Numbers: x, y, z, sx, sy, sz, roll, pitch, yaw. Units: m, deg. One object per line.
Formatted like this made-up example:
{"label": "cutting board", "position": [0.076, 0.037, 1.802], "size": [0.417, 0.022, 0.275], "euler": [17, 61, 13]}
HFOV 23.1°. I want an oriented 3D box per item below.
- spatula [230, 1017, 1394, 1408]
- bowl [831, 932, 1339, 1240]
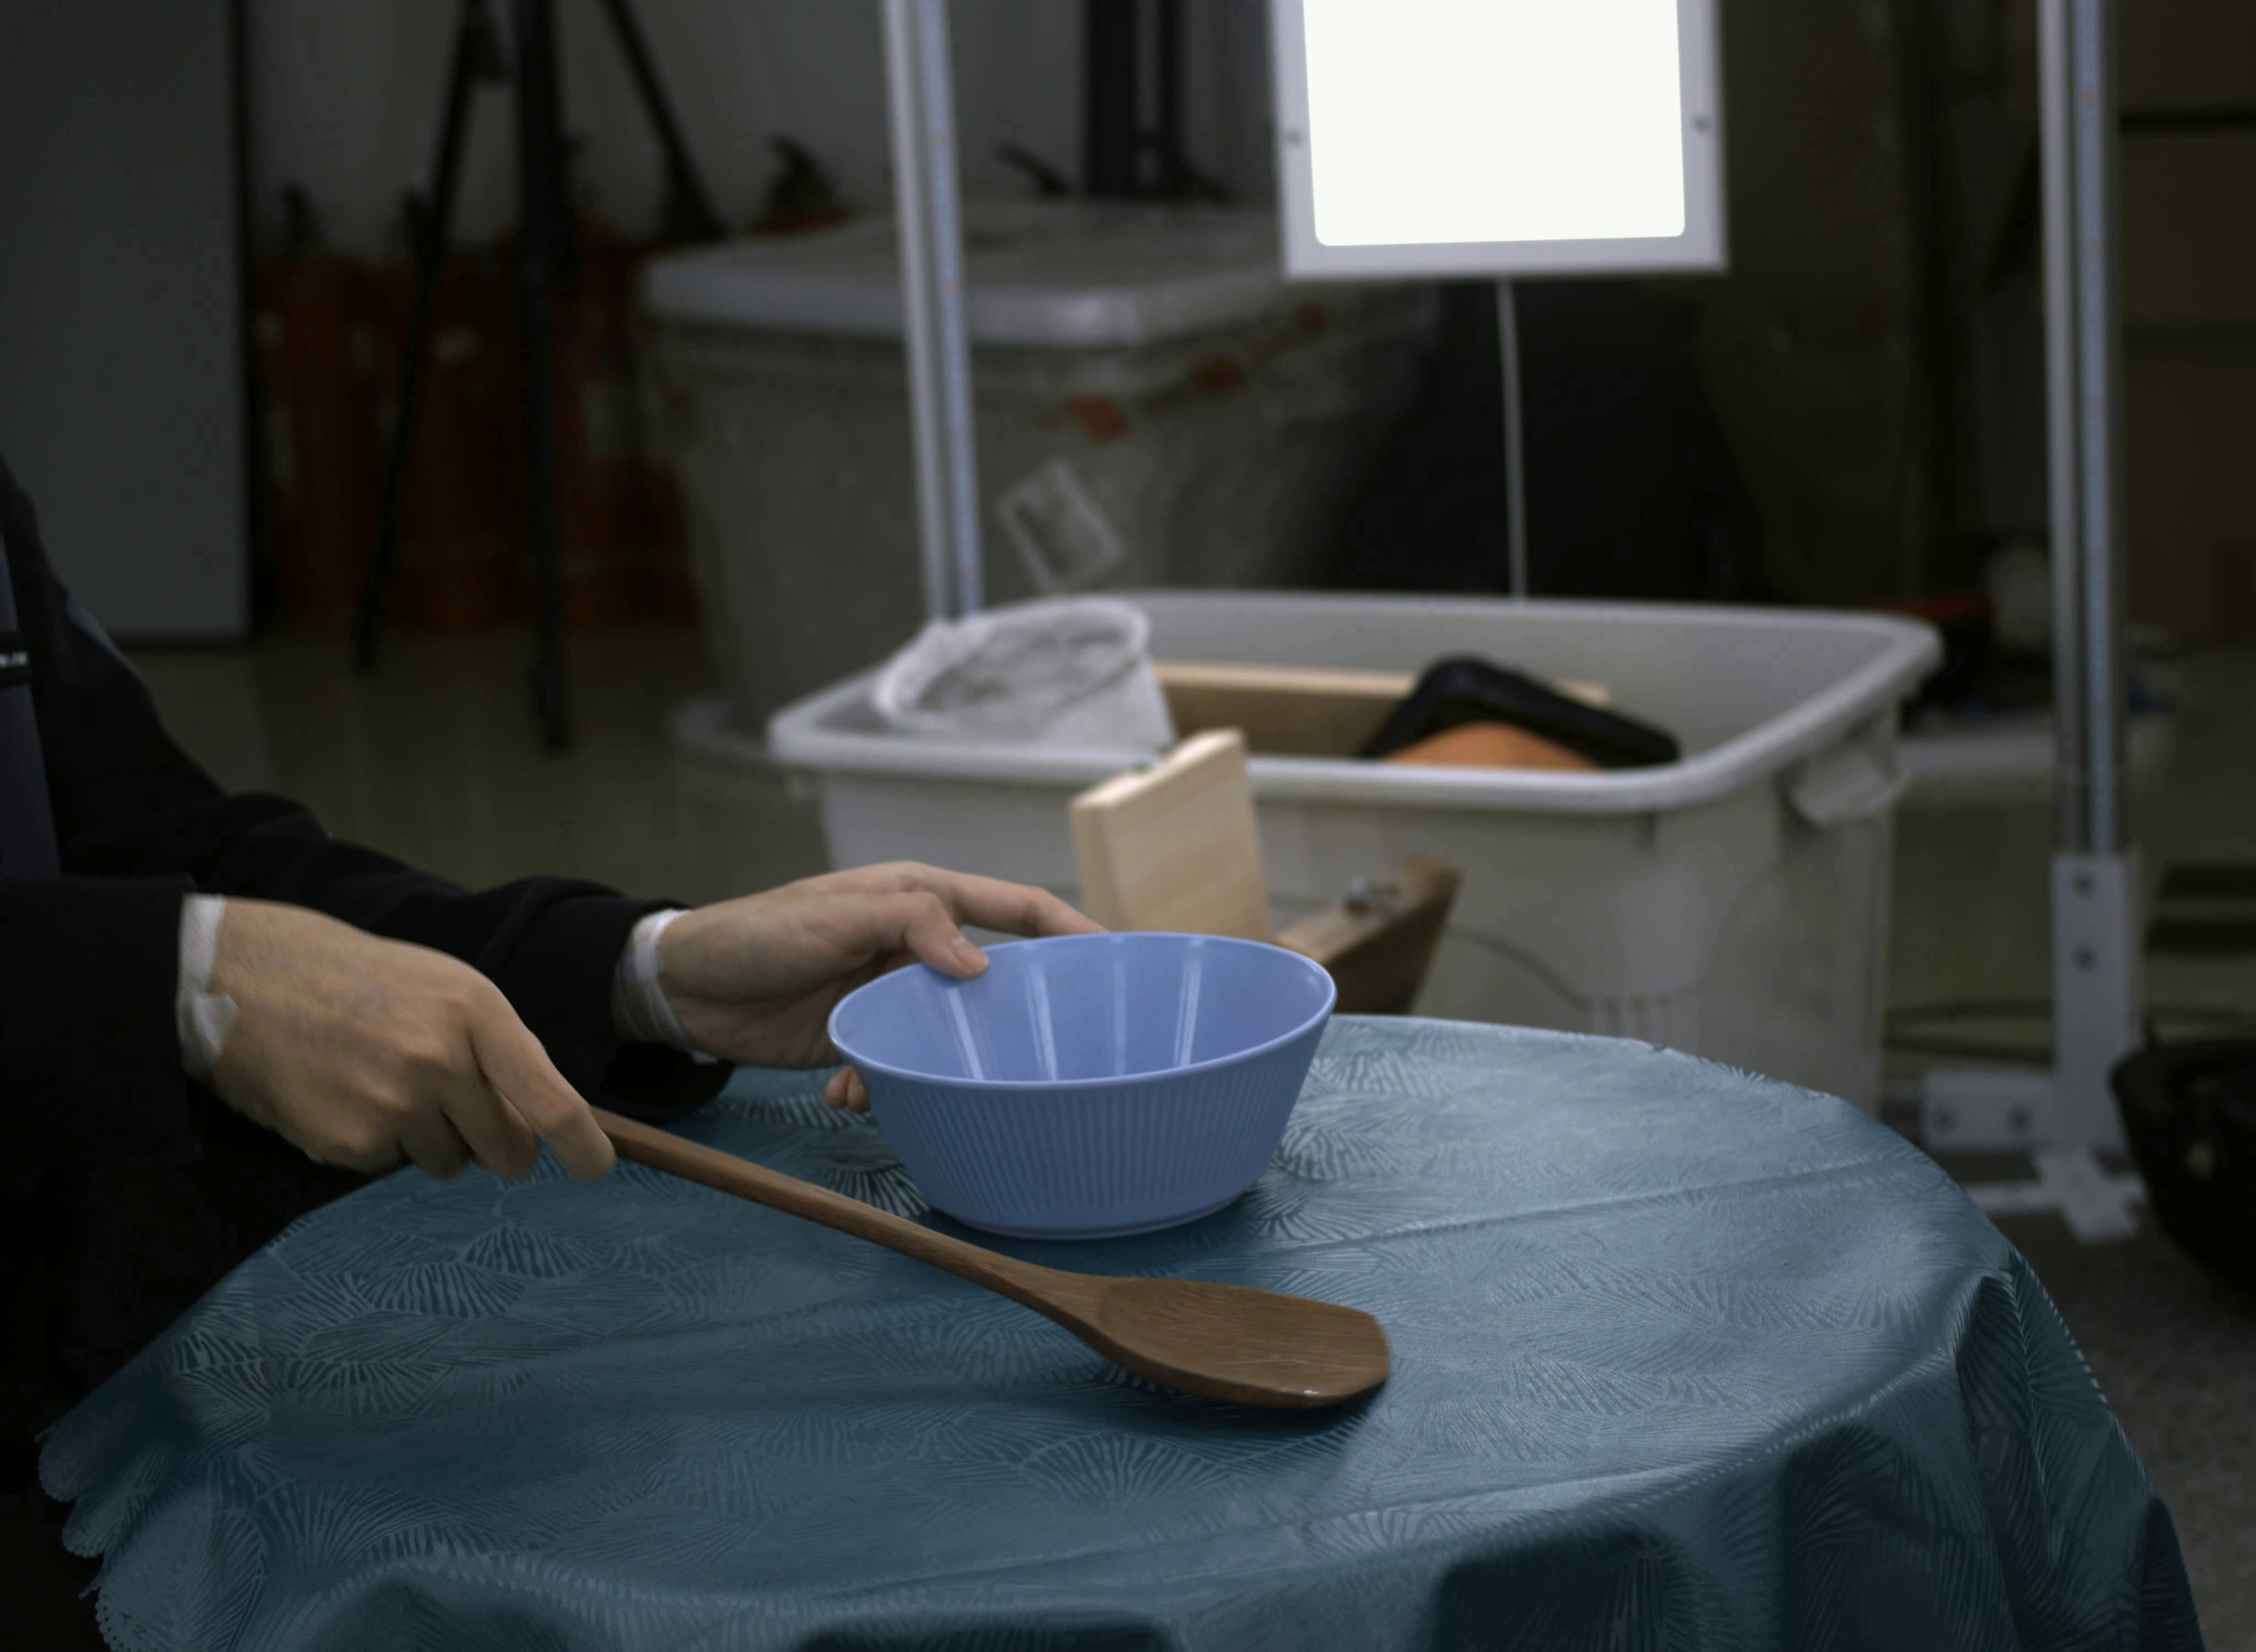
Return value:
{"label": "spatula", "position": [-0.102, 0.117, 1.724], "size": [0.388, 0.016, 0.095], "euler": [17, 14, 10]}
{"label": "bowl", "position": [-0.012, 0.092, 1.892], "size": [0.175, 0.070, 0.176], "euler": [-6, 14, 0]}
